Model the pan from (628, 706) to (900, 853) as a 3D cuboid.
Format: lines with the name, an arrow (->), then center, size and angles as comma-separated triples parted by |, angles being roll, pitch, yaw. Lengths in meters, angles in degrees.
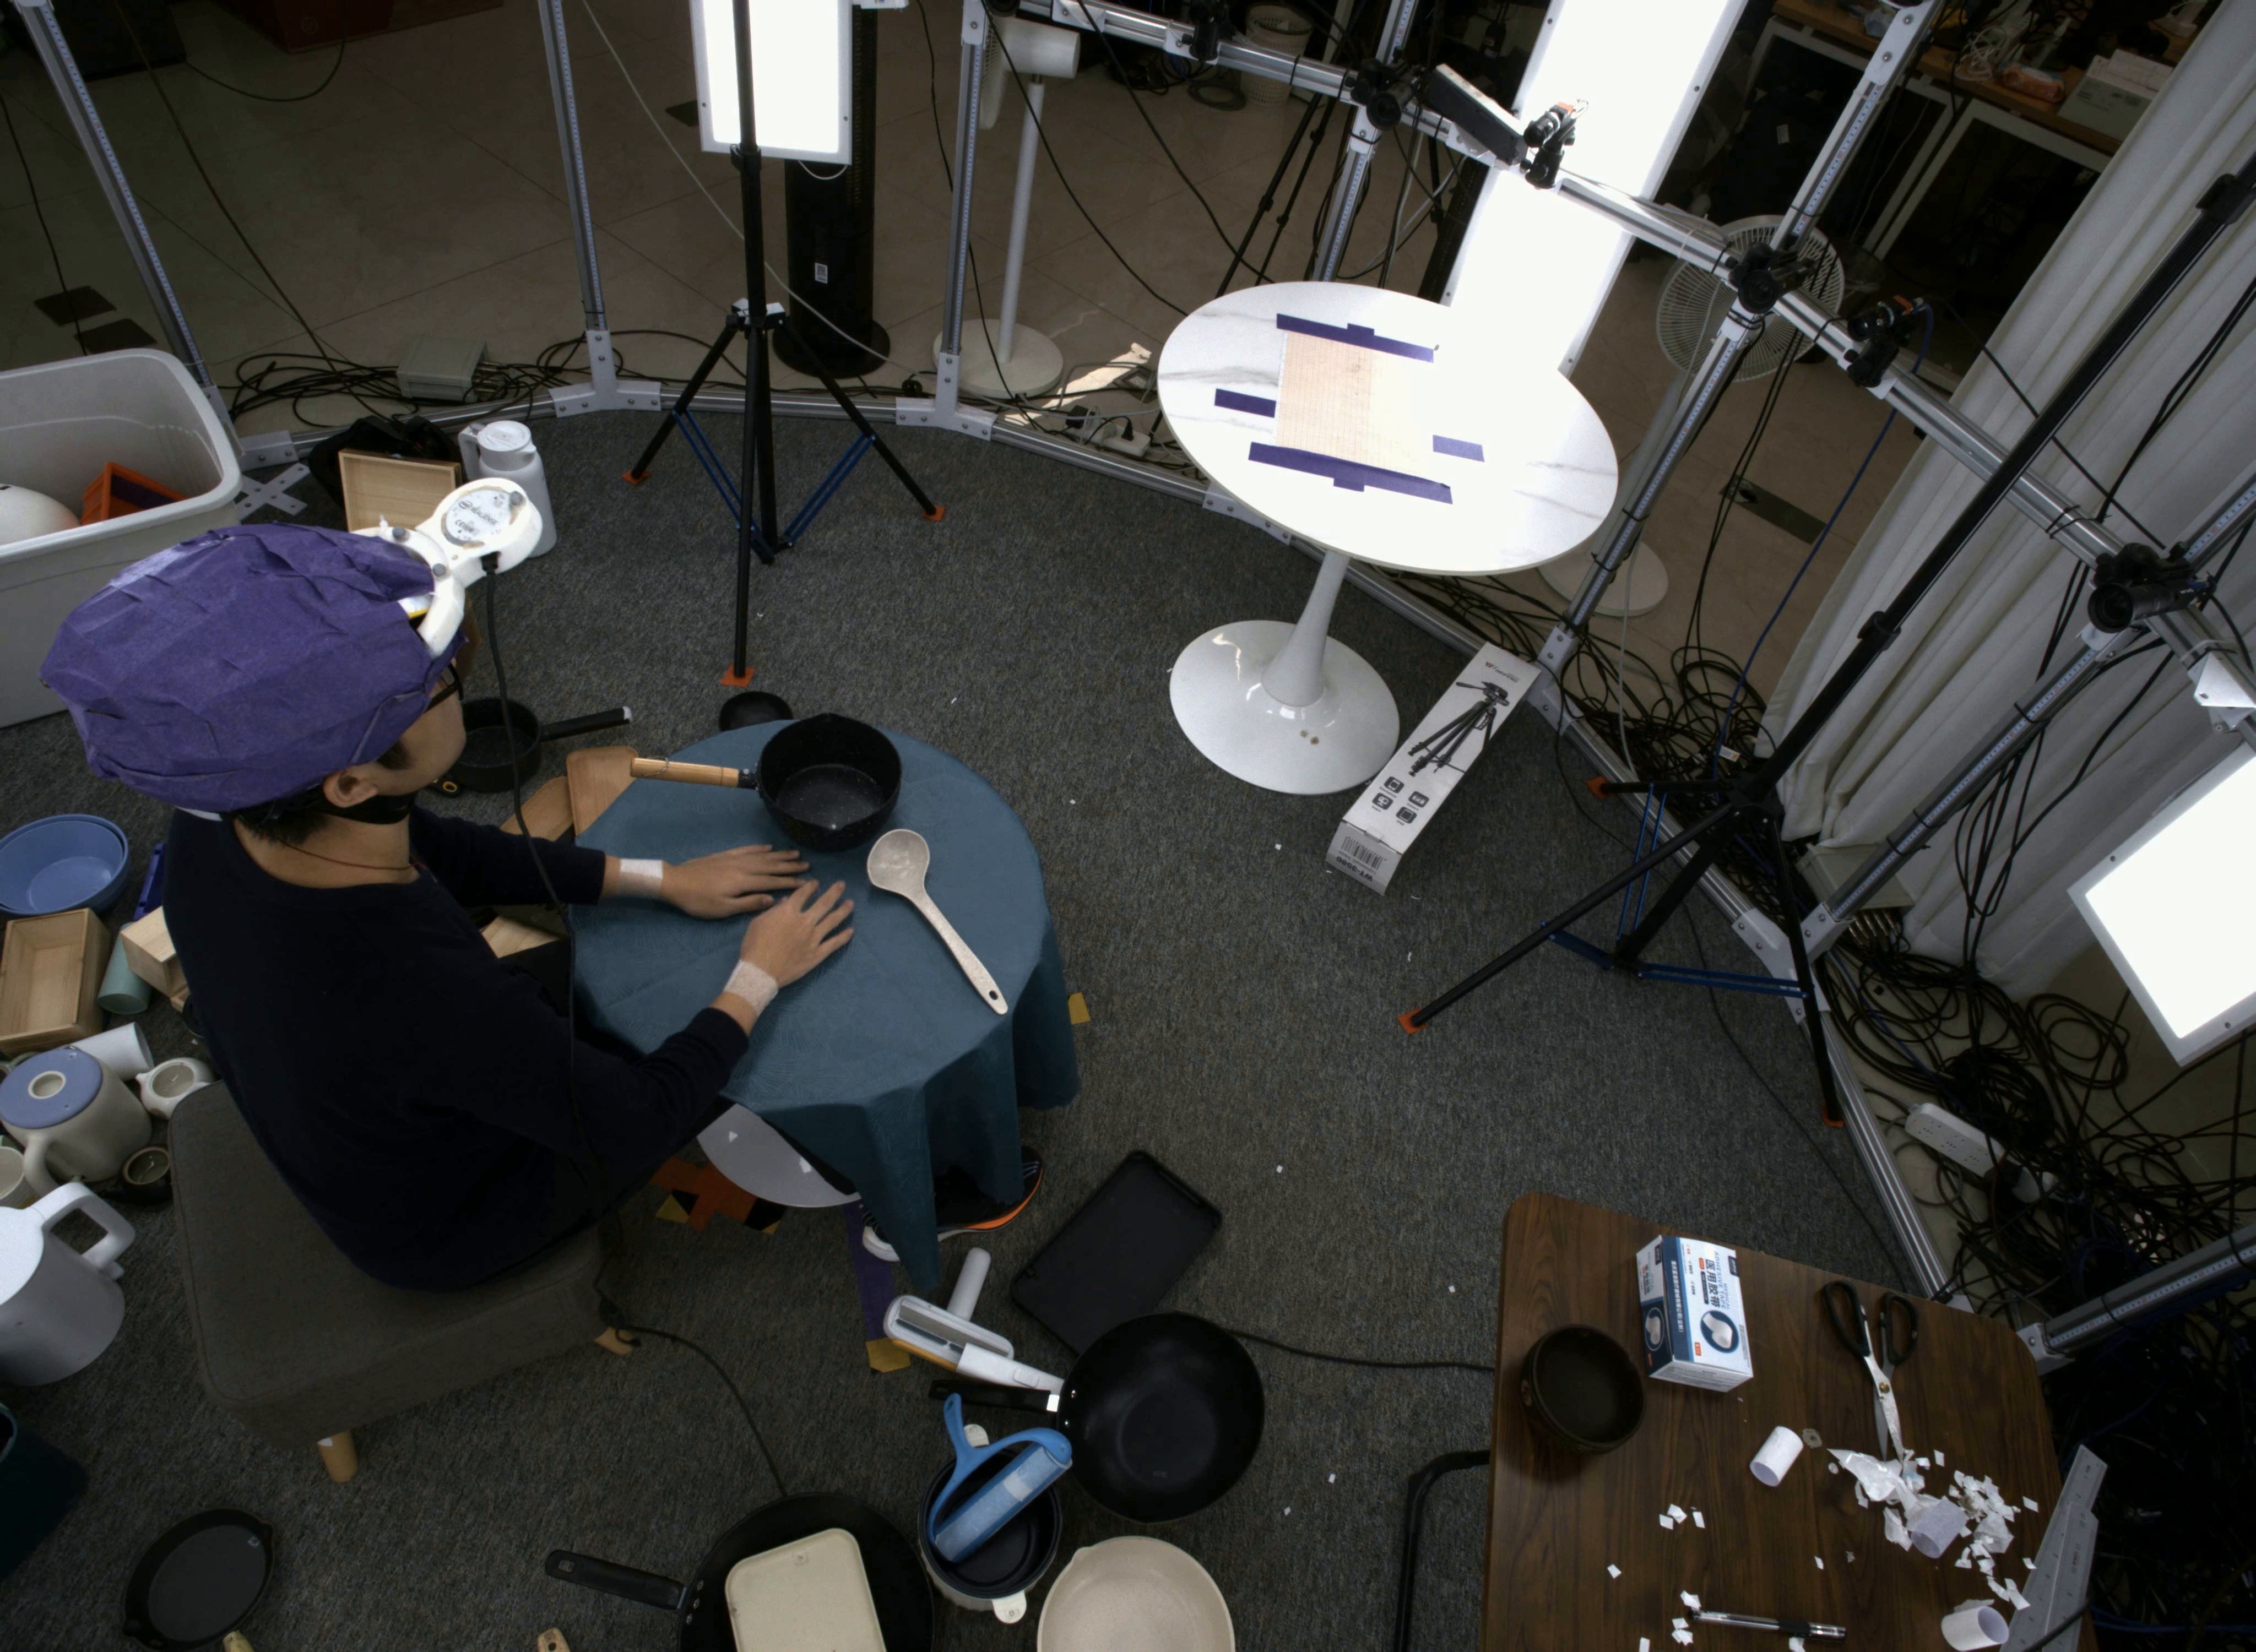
pan -> -0.468, -0.054, 1.673 | 0.344, 0.110, 0.203 | -3, 55, -18

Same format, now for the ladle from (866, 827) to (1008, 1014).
ladle -> -0.230, 0.116, 1.634 | 0.090, 0.070, 0.268 | -27, 64, -35
